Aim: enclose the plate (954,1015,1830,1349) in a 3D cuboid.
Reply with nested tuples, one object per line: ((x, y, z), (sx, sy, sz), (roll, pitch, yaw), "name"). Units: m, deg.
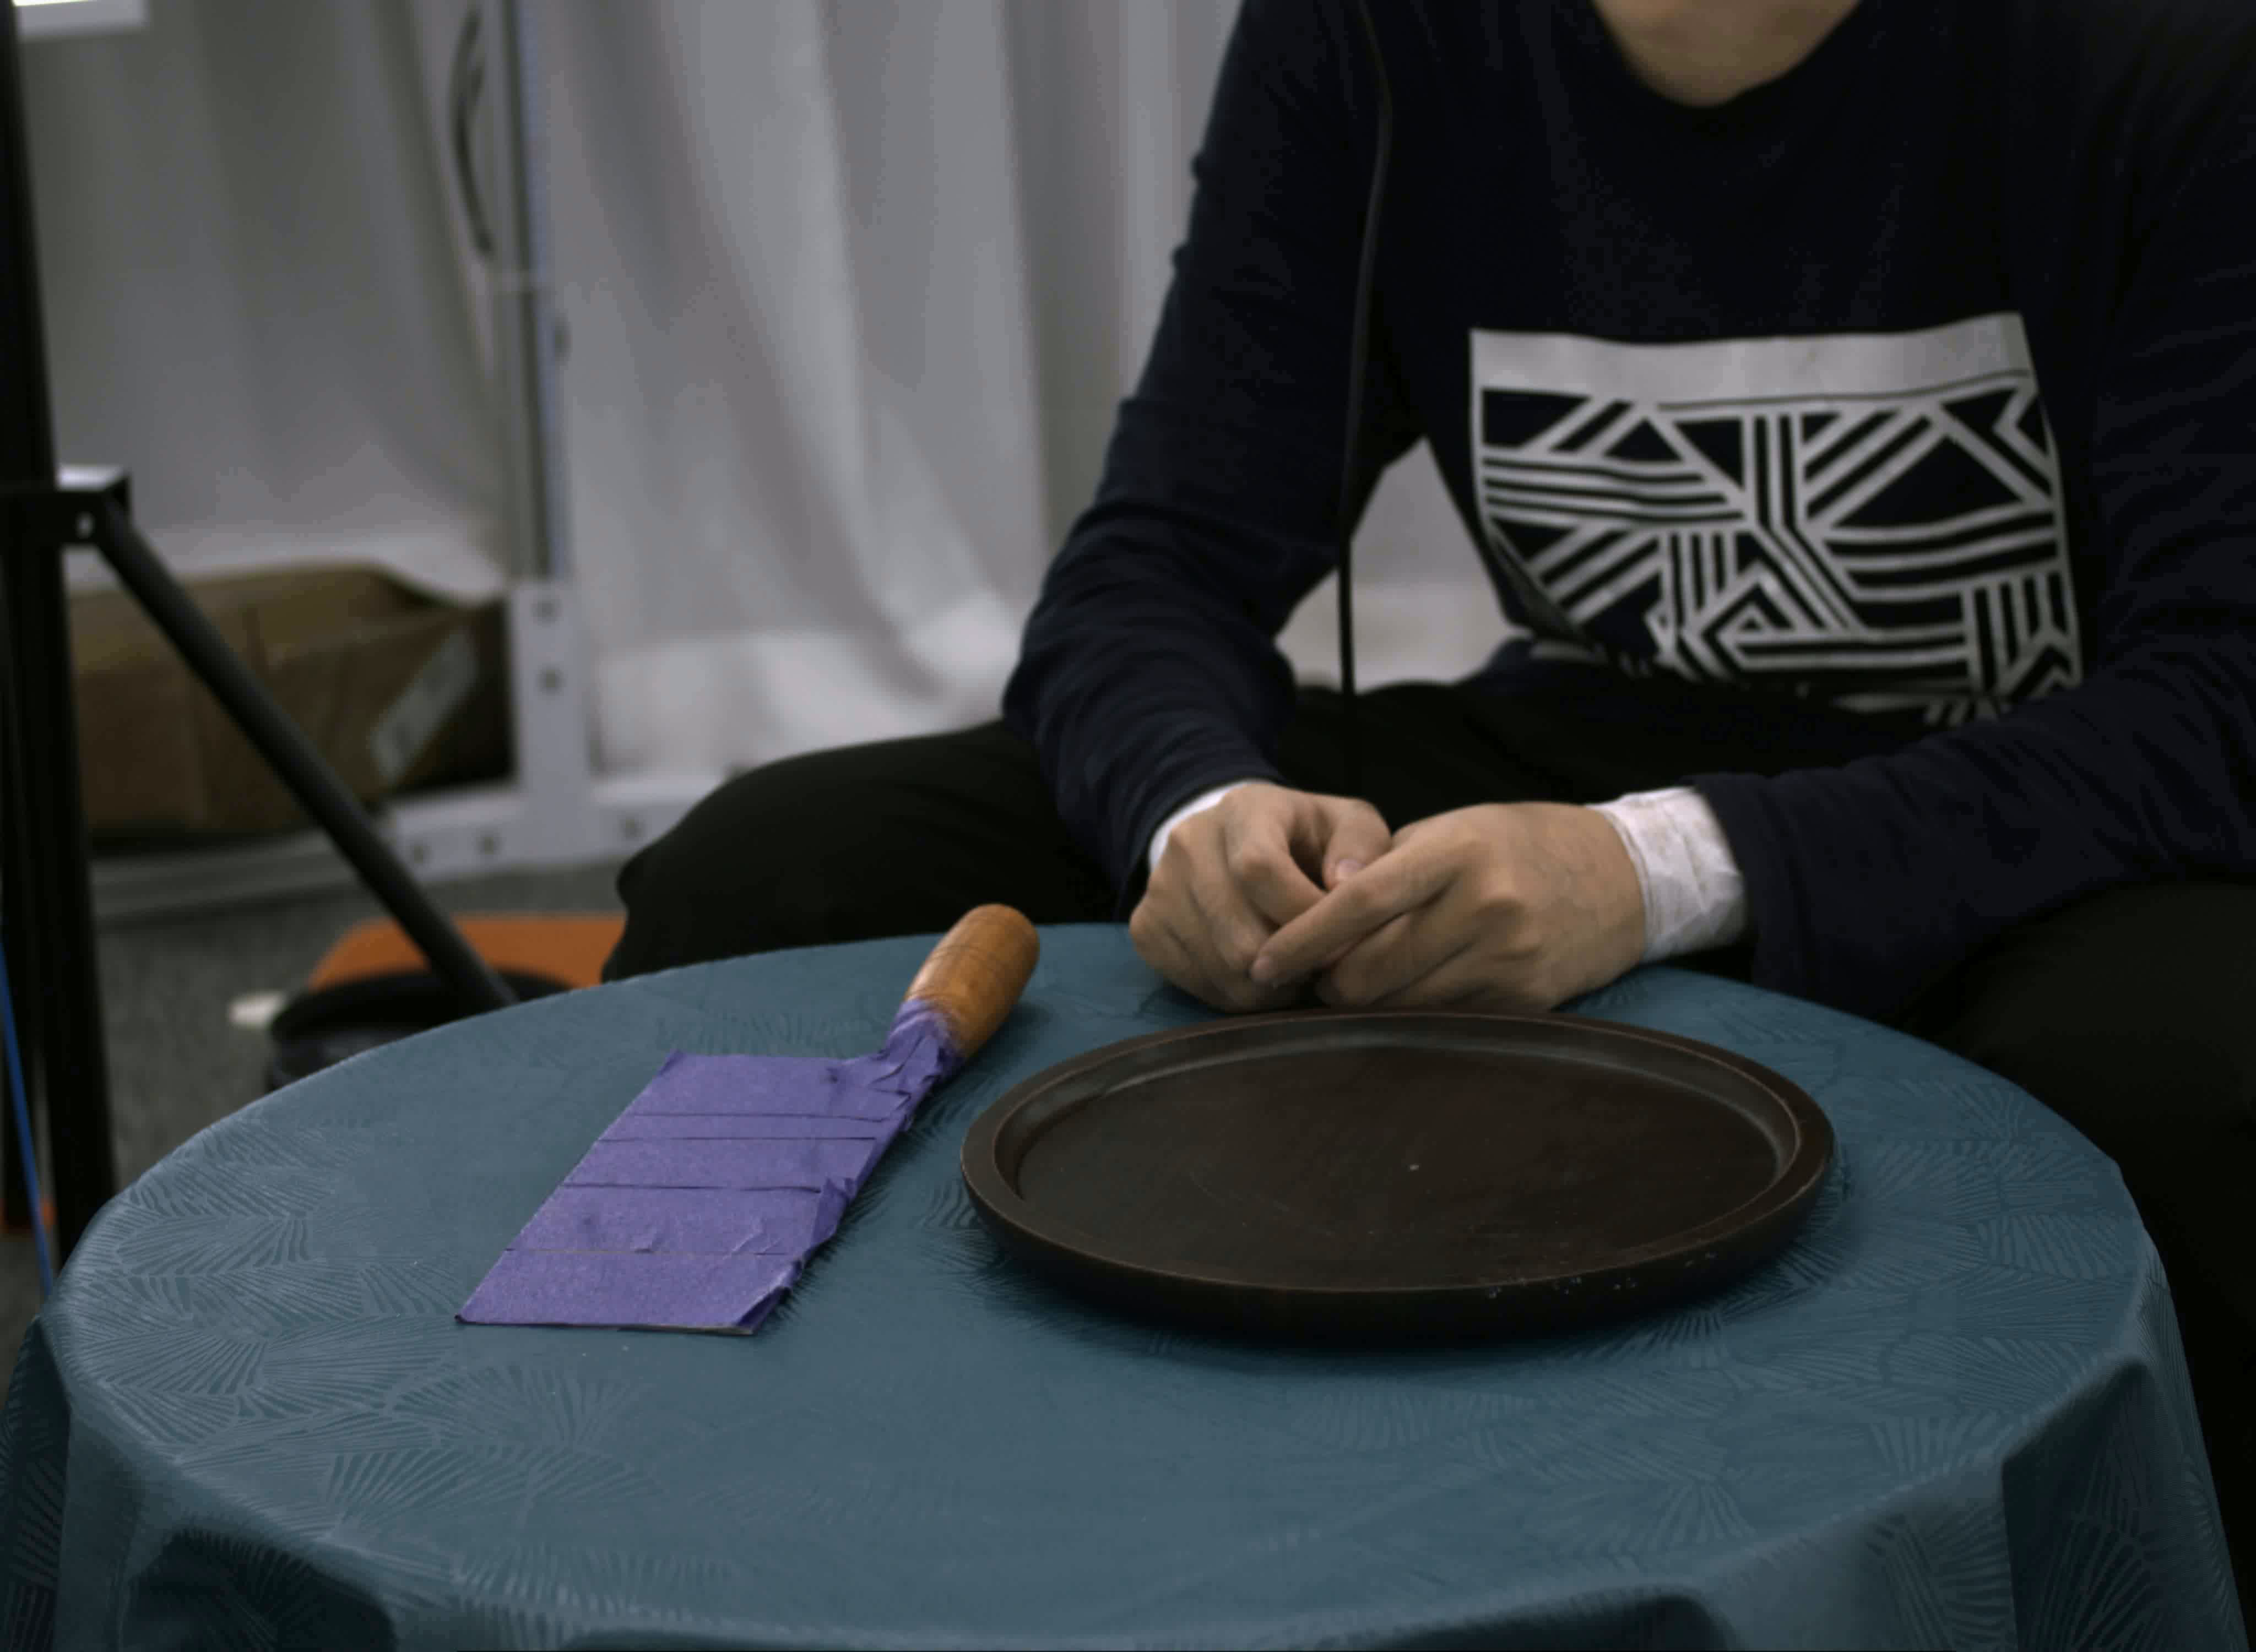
((0.076, 0.100, 1.536), (0.253, 0.029, 0.256), (-2, 17, -1), "plate")

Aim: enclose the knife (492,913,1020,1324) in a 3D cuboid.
((-0.109, 0.085, 1.611), (0.104, 0.032, 0.313), (1, 17, 13), "knife")
